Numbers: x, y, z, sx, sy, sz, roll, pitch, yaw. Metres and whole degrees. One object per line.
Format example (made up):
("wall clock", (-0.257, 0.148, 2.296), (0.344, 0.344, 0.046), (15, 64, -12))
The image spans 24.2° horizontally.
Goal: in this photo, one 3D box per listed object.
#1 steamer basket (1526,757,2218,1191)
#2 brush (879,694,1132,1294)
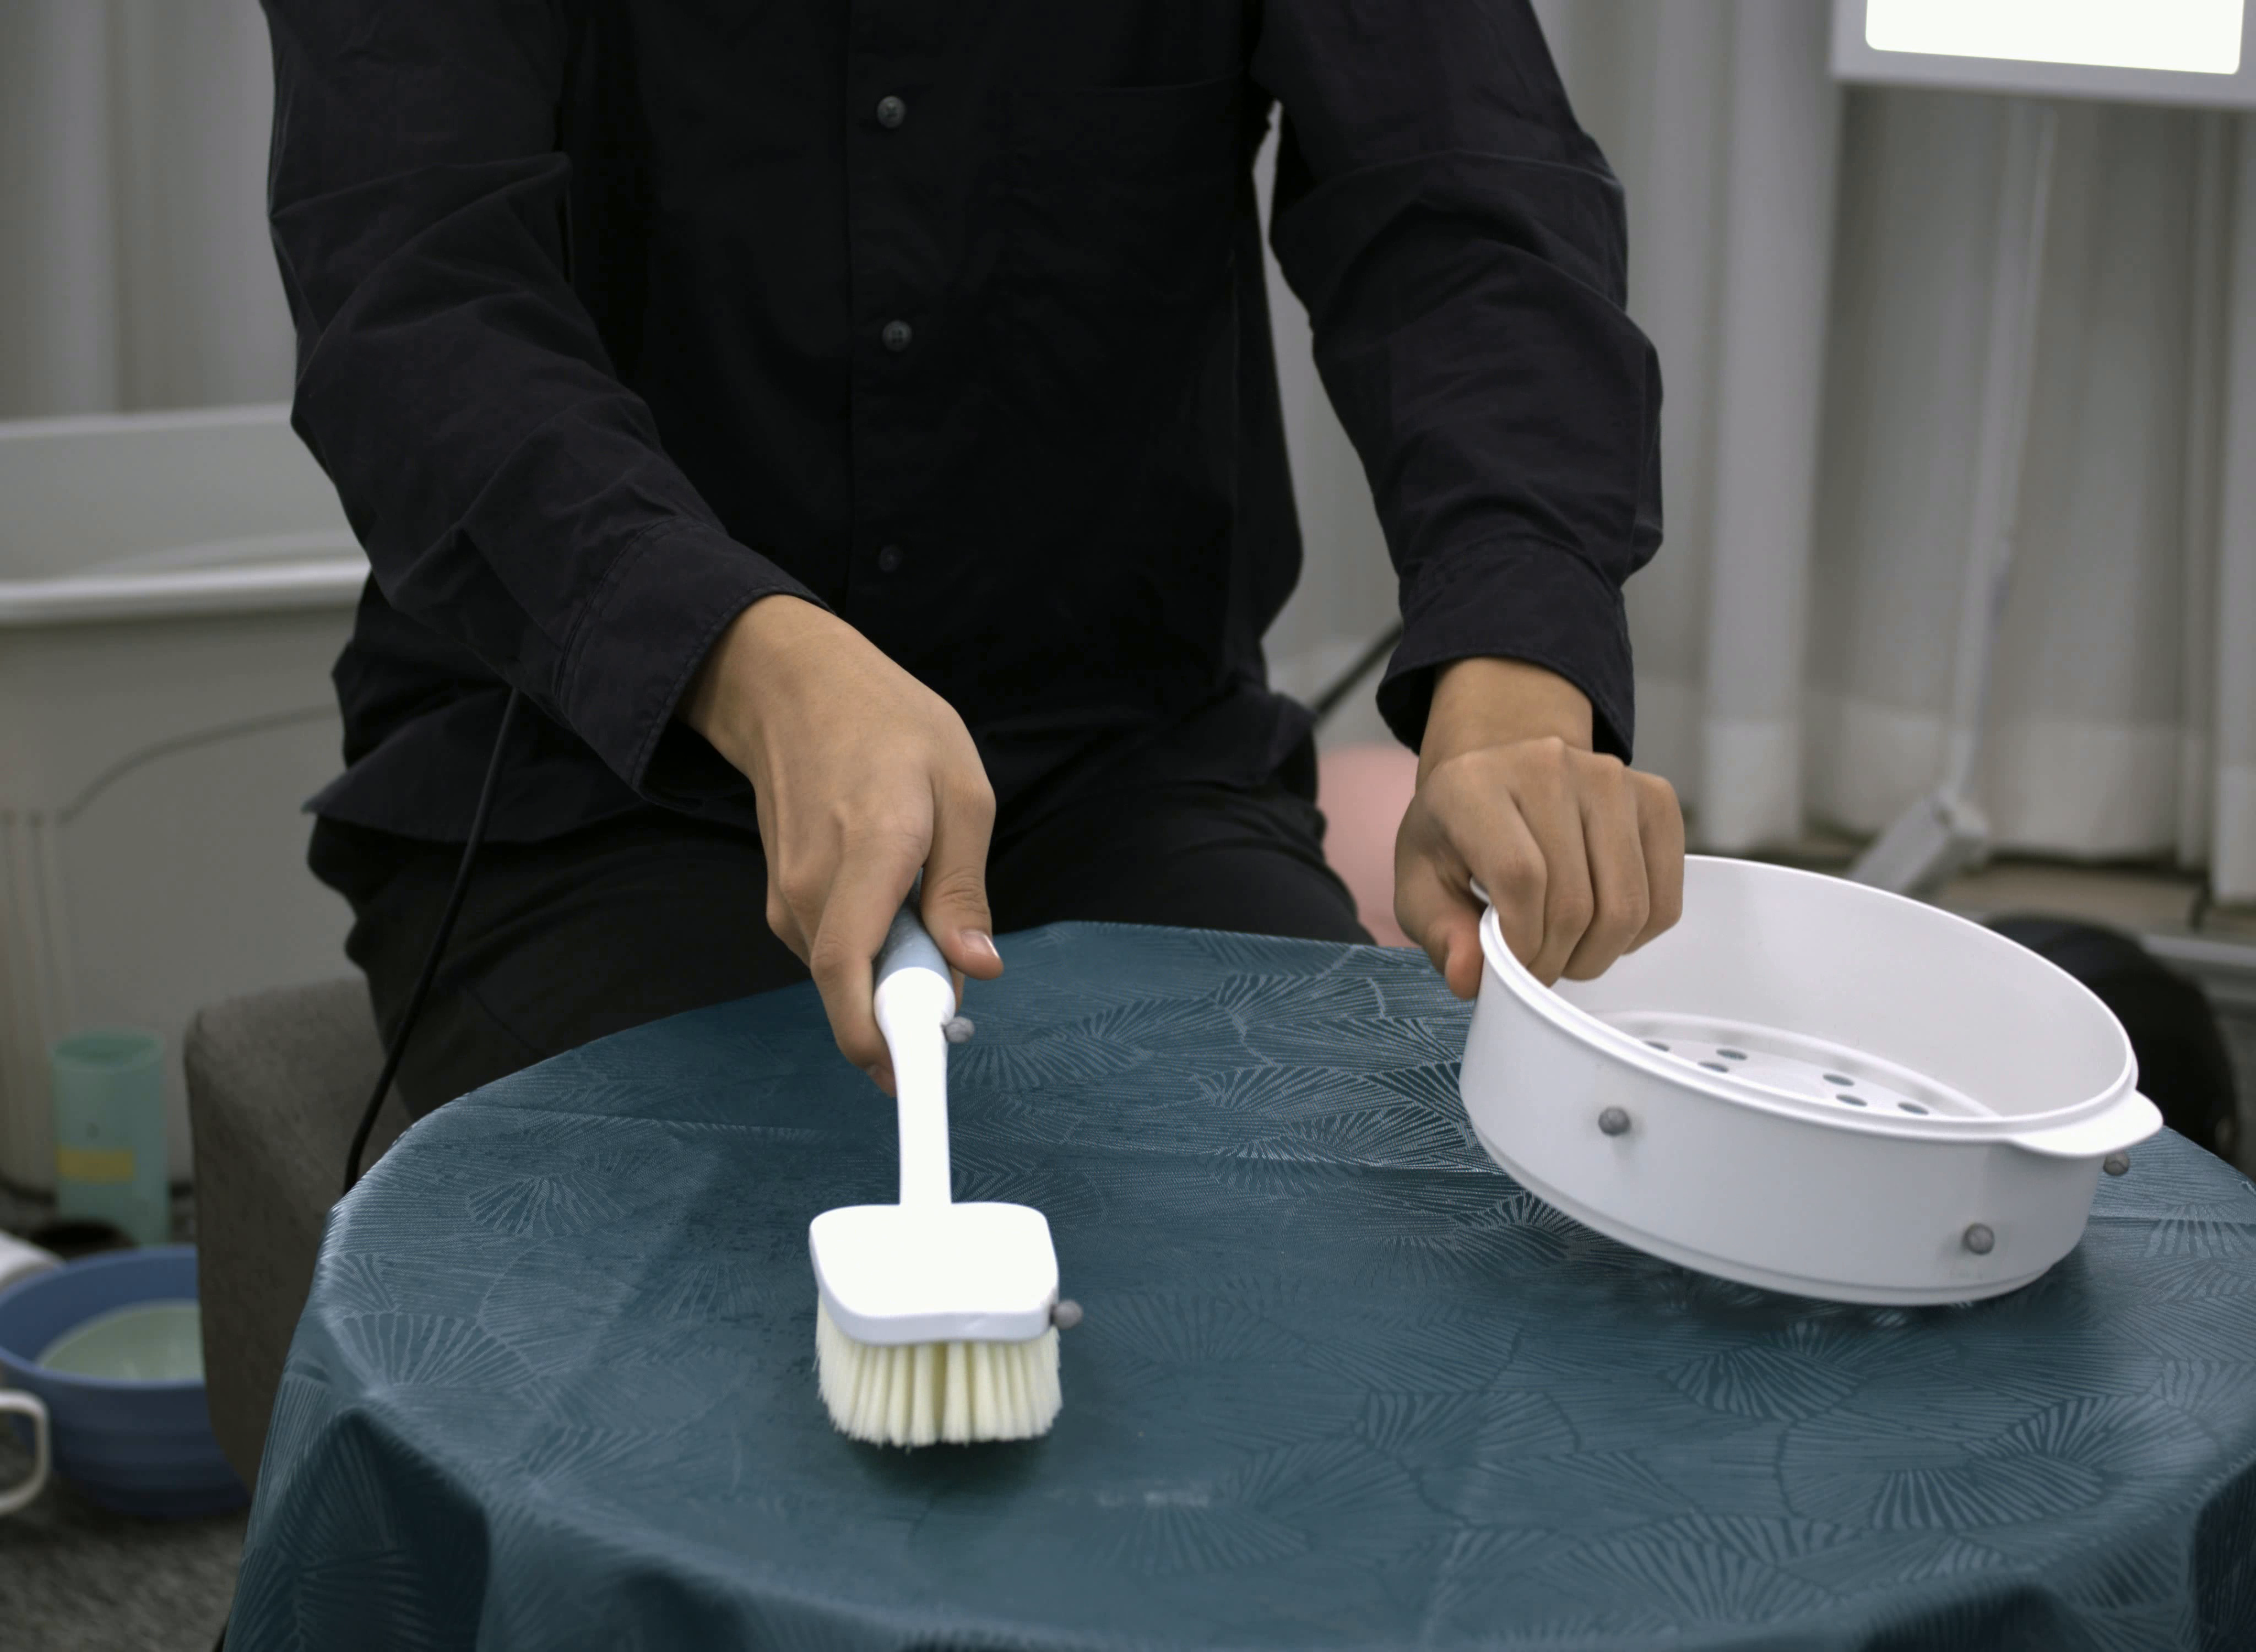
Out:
("steamer basket", (0.221, 0.045, 1.619), (0.227, 0.070, 0.203), (26, 23, 34))
("brush", (-0.038, 0.063, 1.571), (0.083, 0.084, 0.322), (34, 17, -18))
